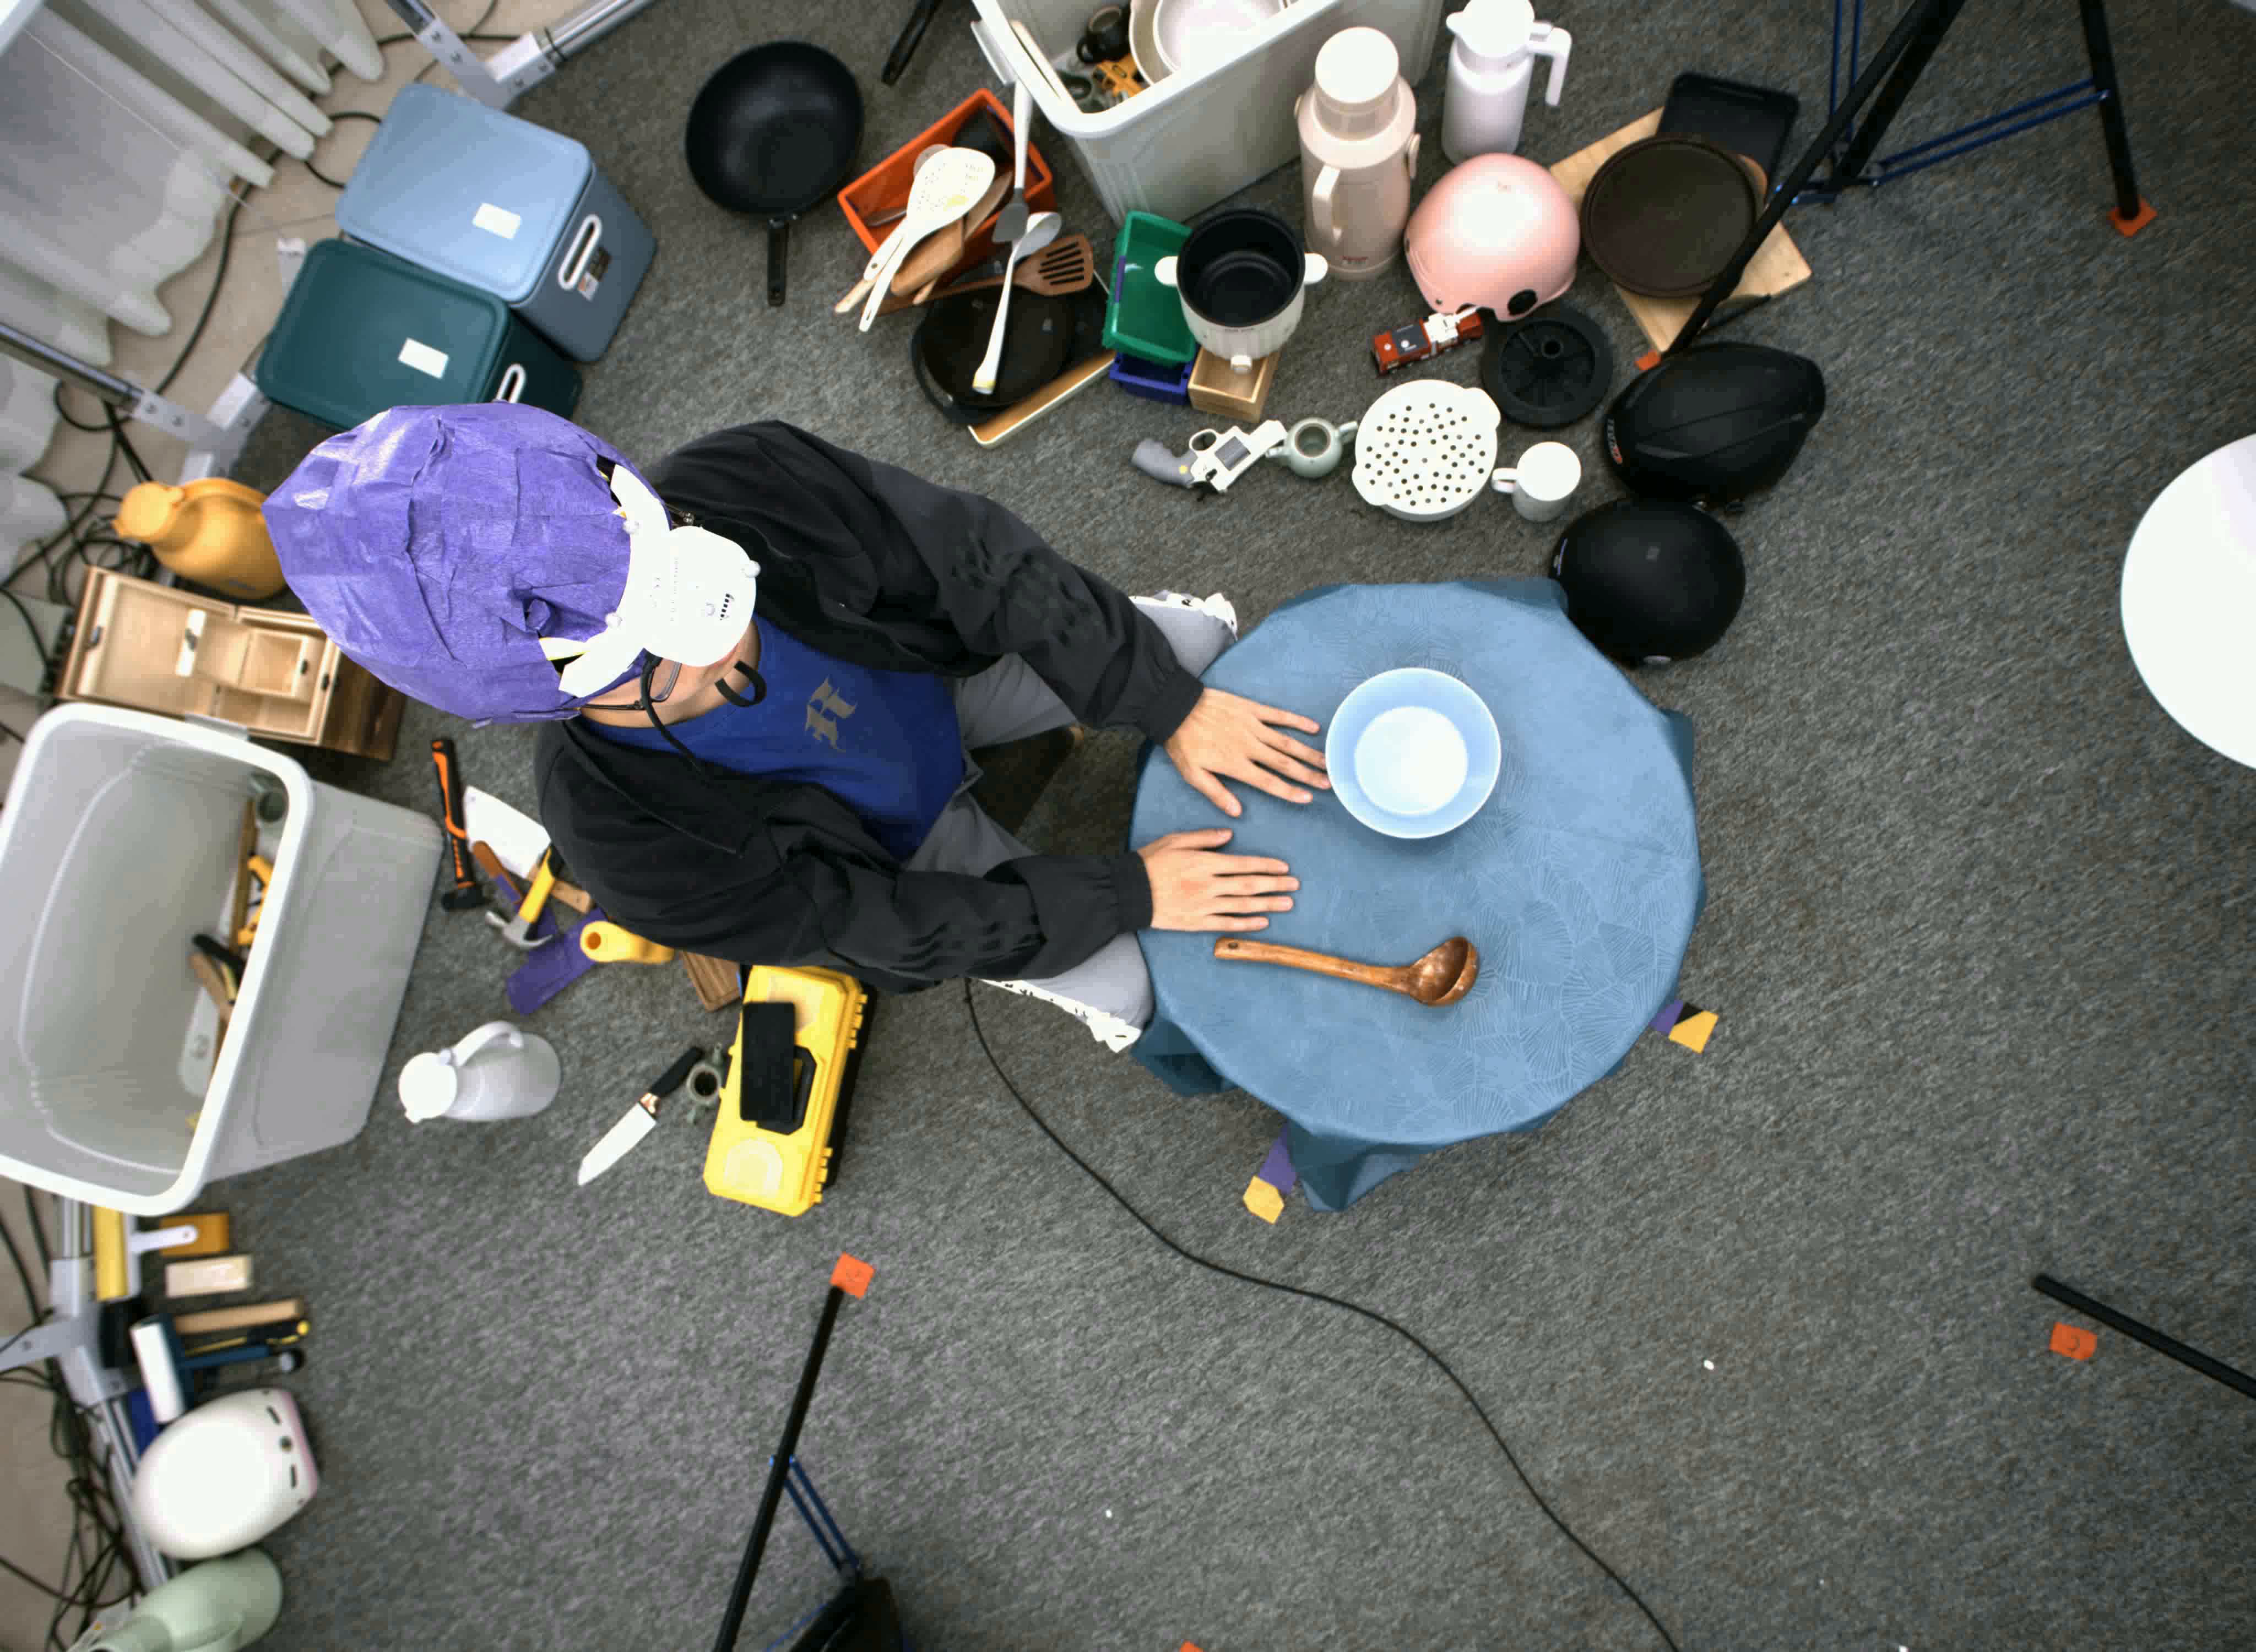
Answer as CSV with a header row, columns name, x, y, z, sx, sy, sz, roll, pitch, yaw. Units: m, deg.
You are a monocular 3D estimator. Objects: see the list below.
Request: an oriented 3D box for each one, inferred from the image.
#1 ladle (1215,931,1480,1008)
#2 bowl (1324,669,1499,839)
name,x,y,z,sx,sy,sz,roll,pitch,yaw
ladle,0.223,0.128,1.429,0.274,0.080,0.078,13,133,13
bowl,0.292,-0.072,1.426,0.177,0.070,0.175,-1,86,11
